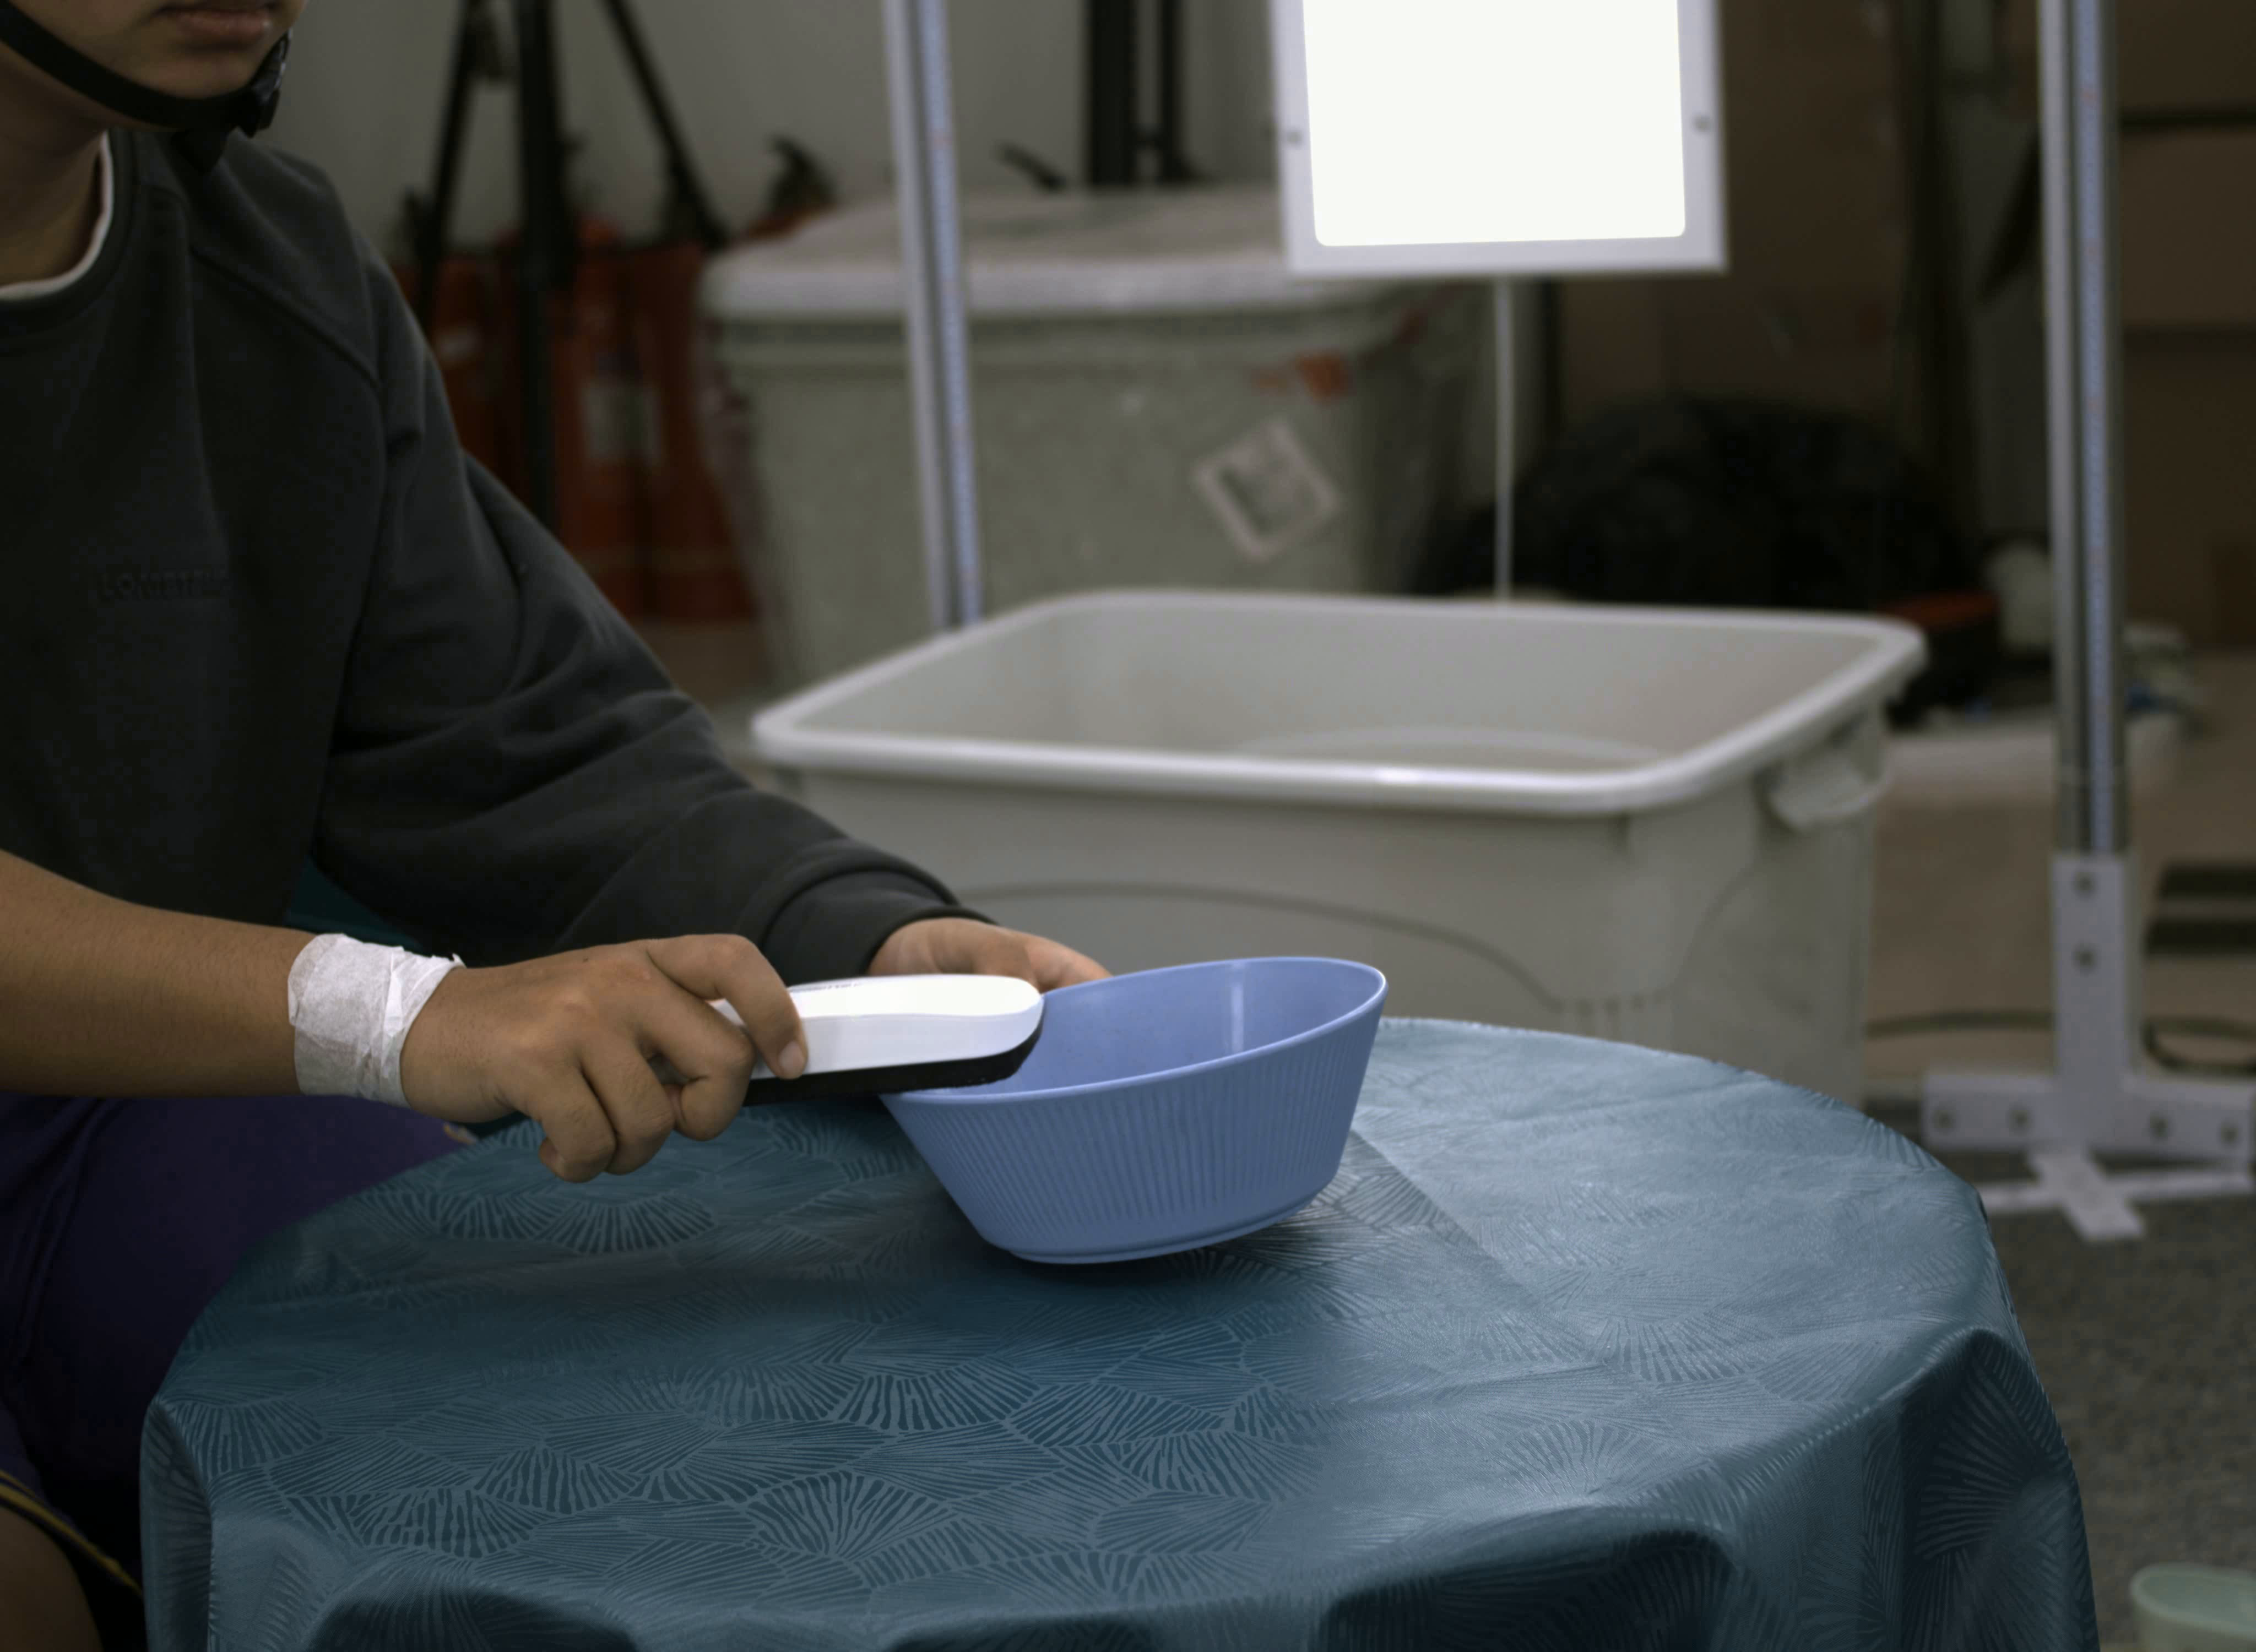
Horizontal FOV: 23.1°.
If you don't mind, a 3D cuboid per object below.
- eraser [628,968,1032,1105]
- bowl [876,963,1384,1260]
[{"bbox_3d":[-0.098,0.069,1.828,0.132,0.034,0.062,-4,8,13],"label":"eraser"},{"bbox_3d":[0.004,0.097,1.838,0.176,0.070,0.176,-10,9,0],"label":"bowl"}]
